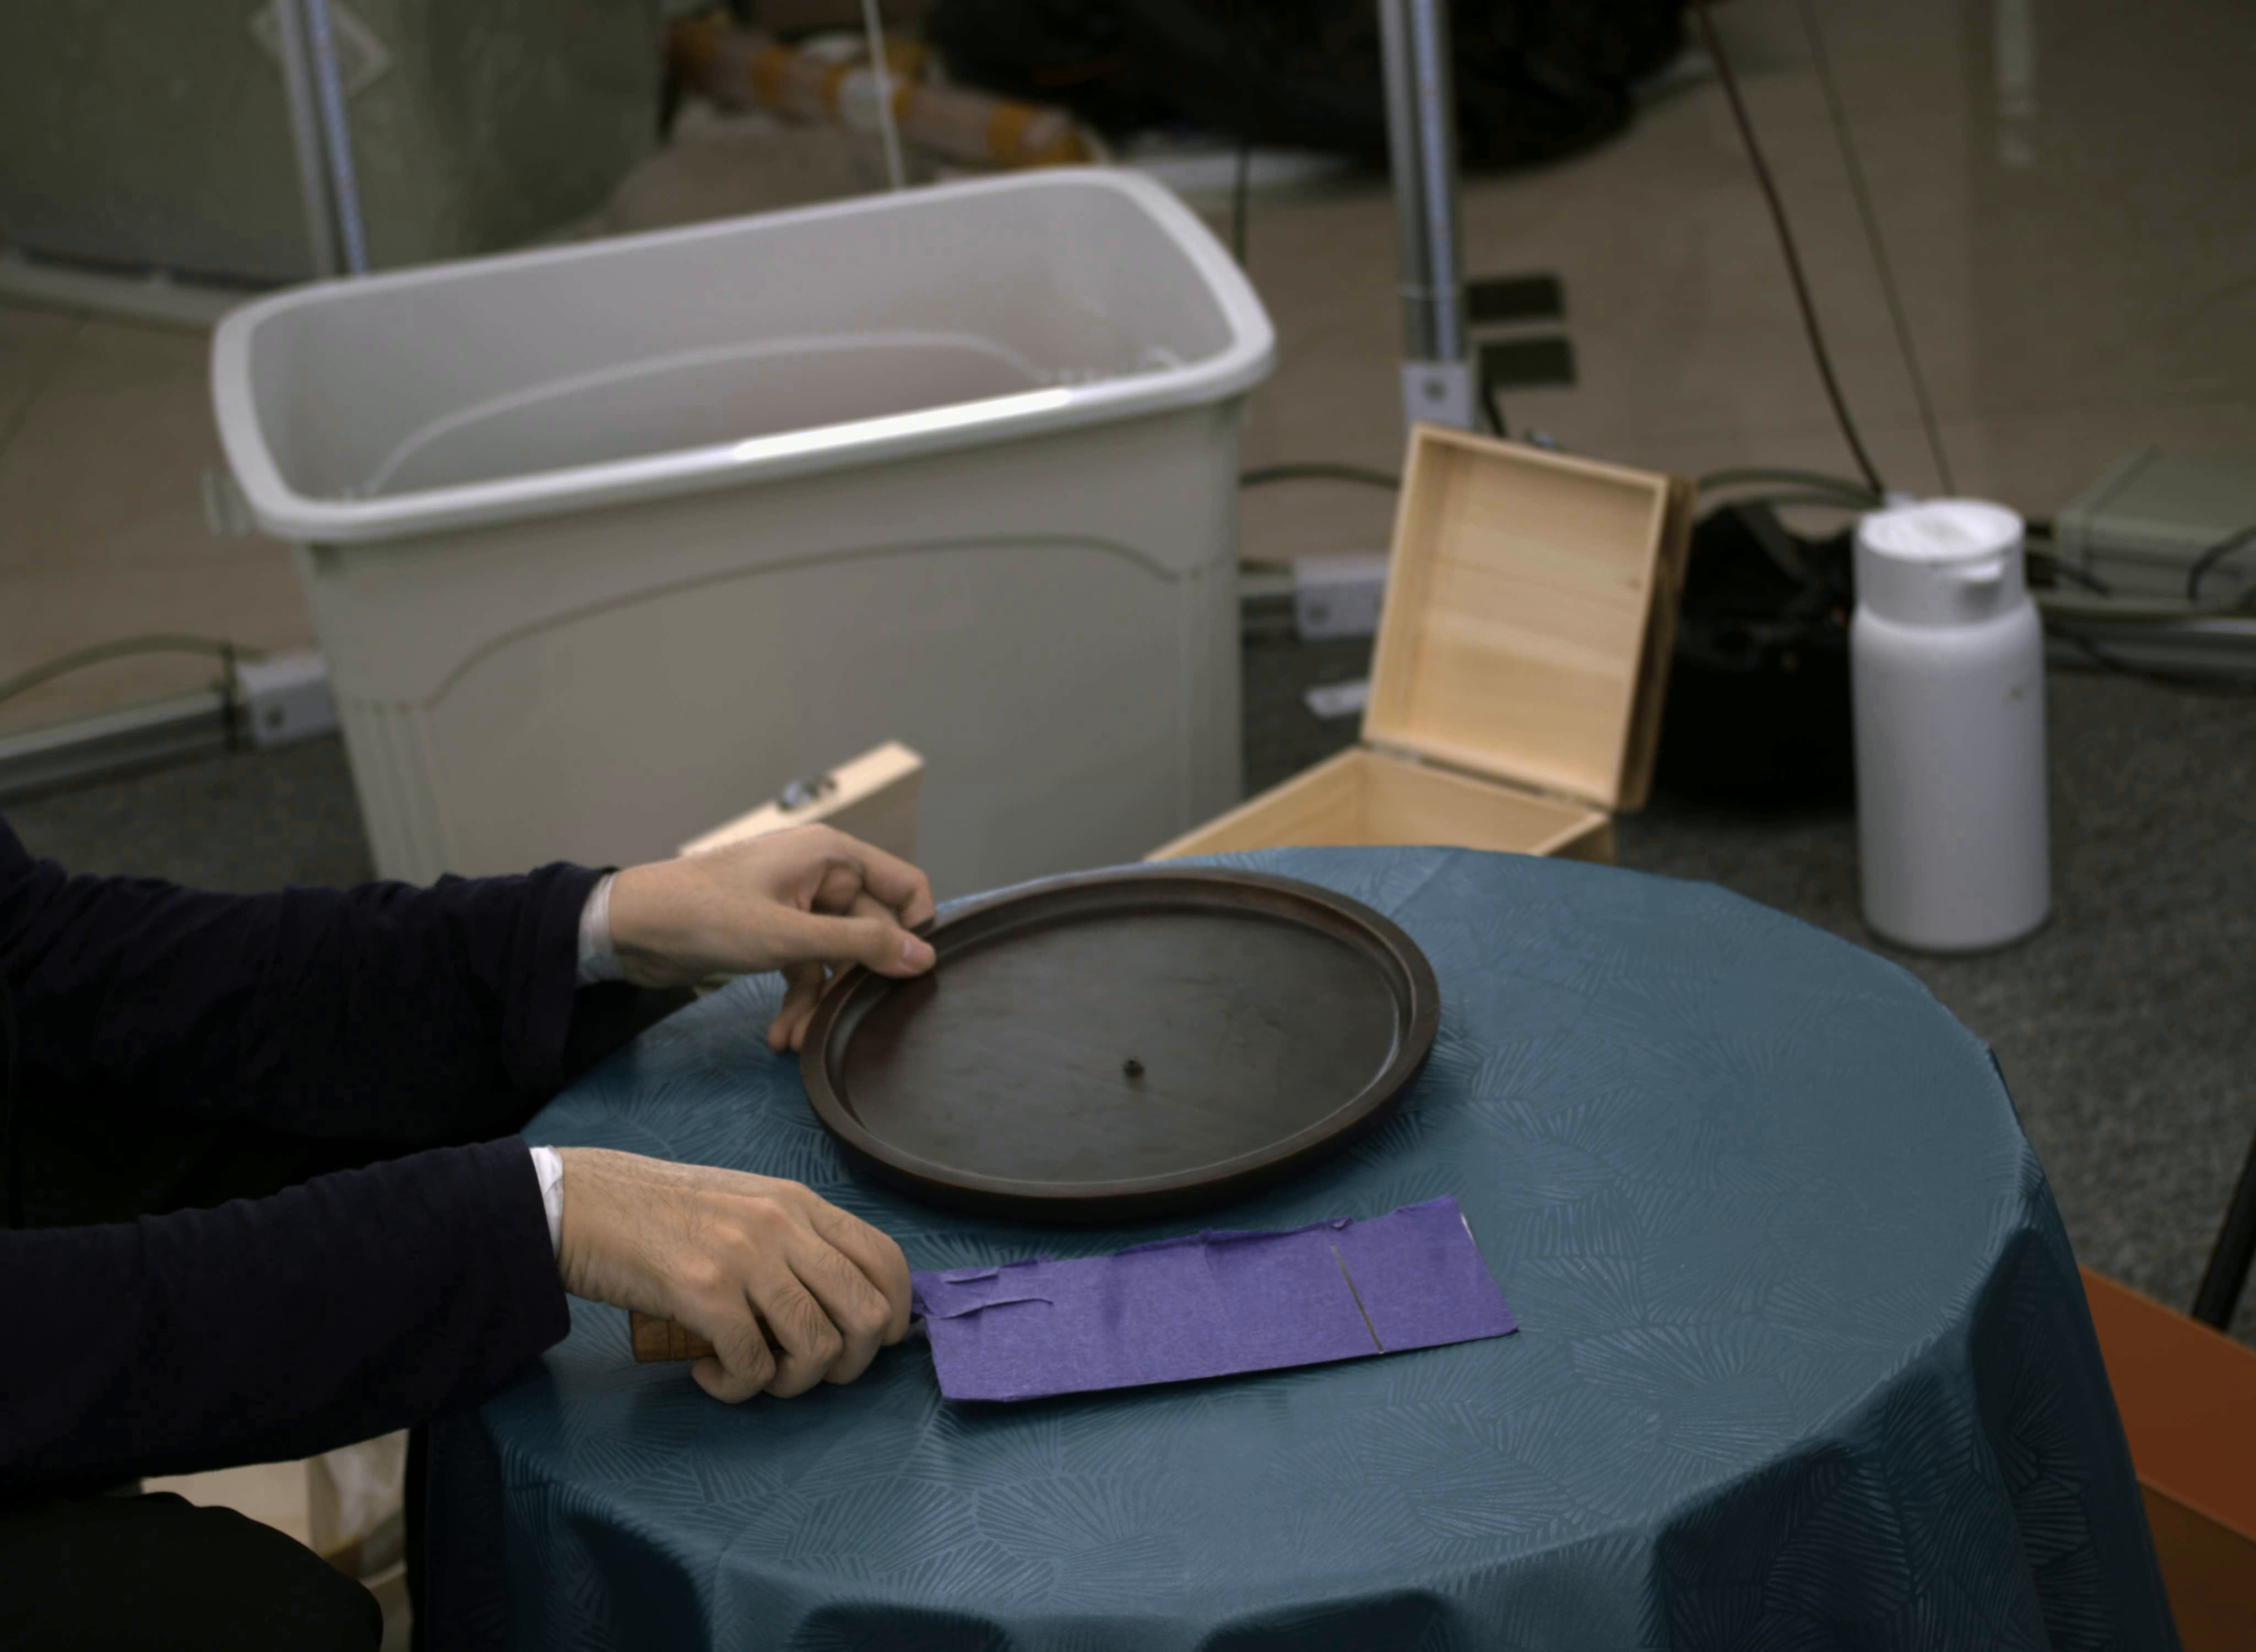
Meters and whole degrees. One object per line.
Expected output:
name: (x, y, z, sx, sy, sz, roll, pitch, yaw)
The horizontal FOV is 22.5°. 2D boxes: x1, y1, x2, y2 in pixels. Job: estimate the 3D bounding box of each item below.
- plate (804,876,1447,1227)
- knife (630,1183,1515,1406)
plate: (-0.001, 0.087, 2.221, 0.254, 0.029, 0.251, -4, 28, 2)
knife: (-0.020, 0.175, 2.046, 0.314, 0.033, 0.102, -9, 26, -6)
